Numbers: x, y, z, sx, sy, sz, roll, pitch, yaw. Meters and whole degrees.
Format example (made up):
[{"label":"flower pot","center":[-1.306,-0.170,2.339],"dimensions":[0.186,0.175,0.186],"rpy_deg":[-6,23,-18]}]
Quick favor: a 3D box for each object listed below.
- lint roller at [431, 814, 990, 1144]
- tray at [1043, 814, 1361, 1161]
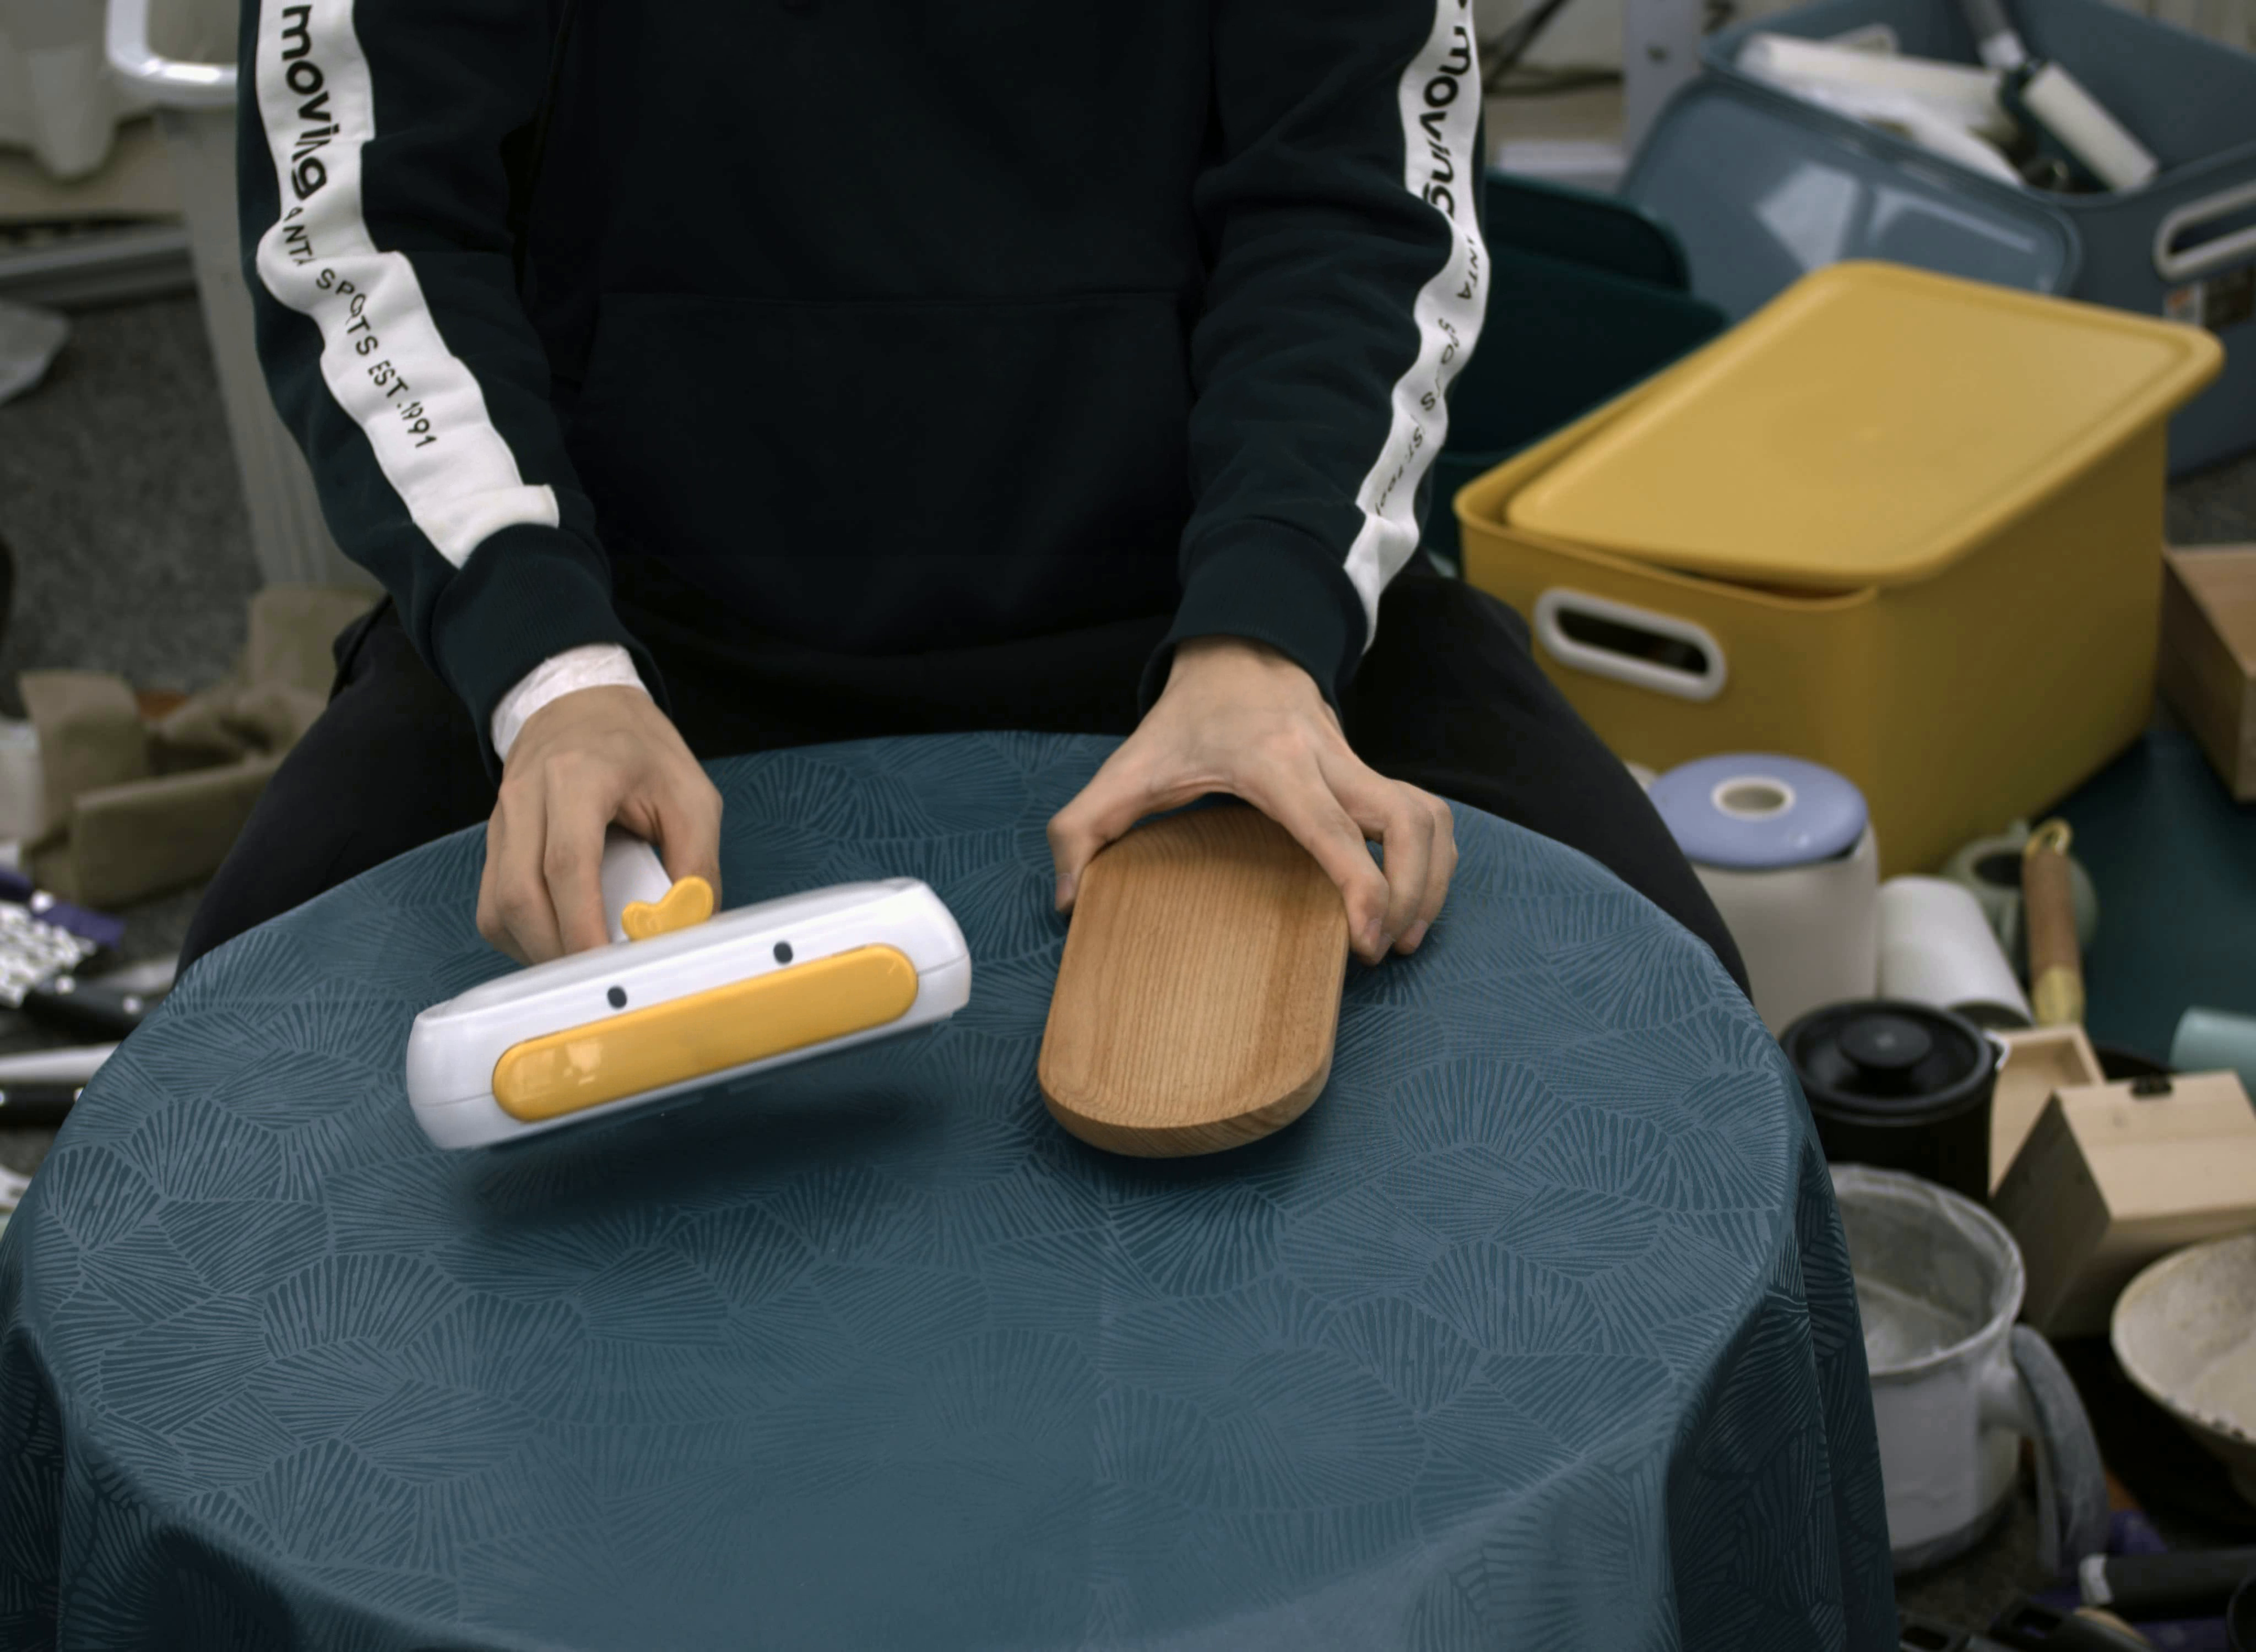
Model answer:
[{"label":"lint roller","center":[-0.161,0.042,1.930],"dimensions":[0.193,0.074,0.192],"rpy_deg":[-21,16,-16]},{"label":"tray","center":[0.028,0.054,1.947],"dimensions":[0.101,0.020,0.235],"rpy_deg":[-4,27,7]}]
